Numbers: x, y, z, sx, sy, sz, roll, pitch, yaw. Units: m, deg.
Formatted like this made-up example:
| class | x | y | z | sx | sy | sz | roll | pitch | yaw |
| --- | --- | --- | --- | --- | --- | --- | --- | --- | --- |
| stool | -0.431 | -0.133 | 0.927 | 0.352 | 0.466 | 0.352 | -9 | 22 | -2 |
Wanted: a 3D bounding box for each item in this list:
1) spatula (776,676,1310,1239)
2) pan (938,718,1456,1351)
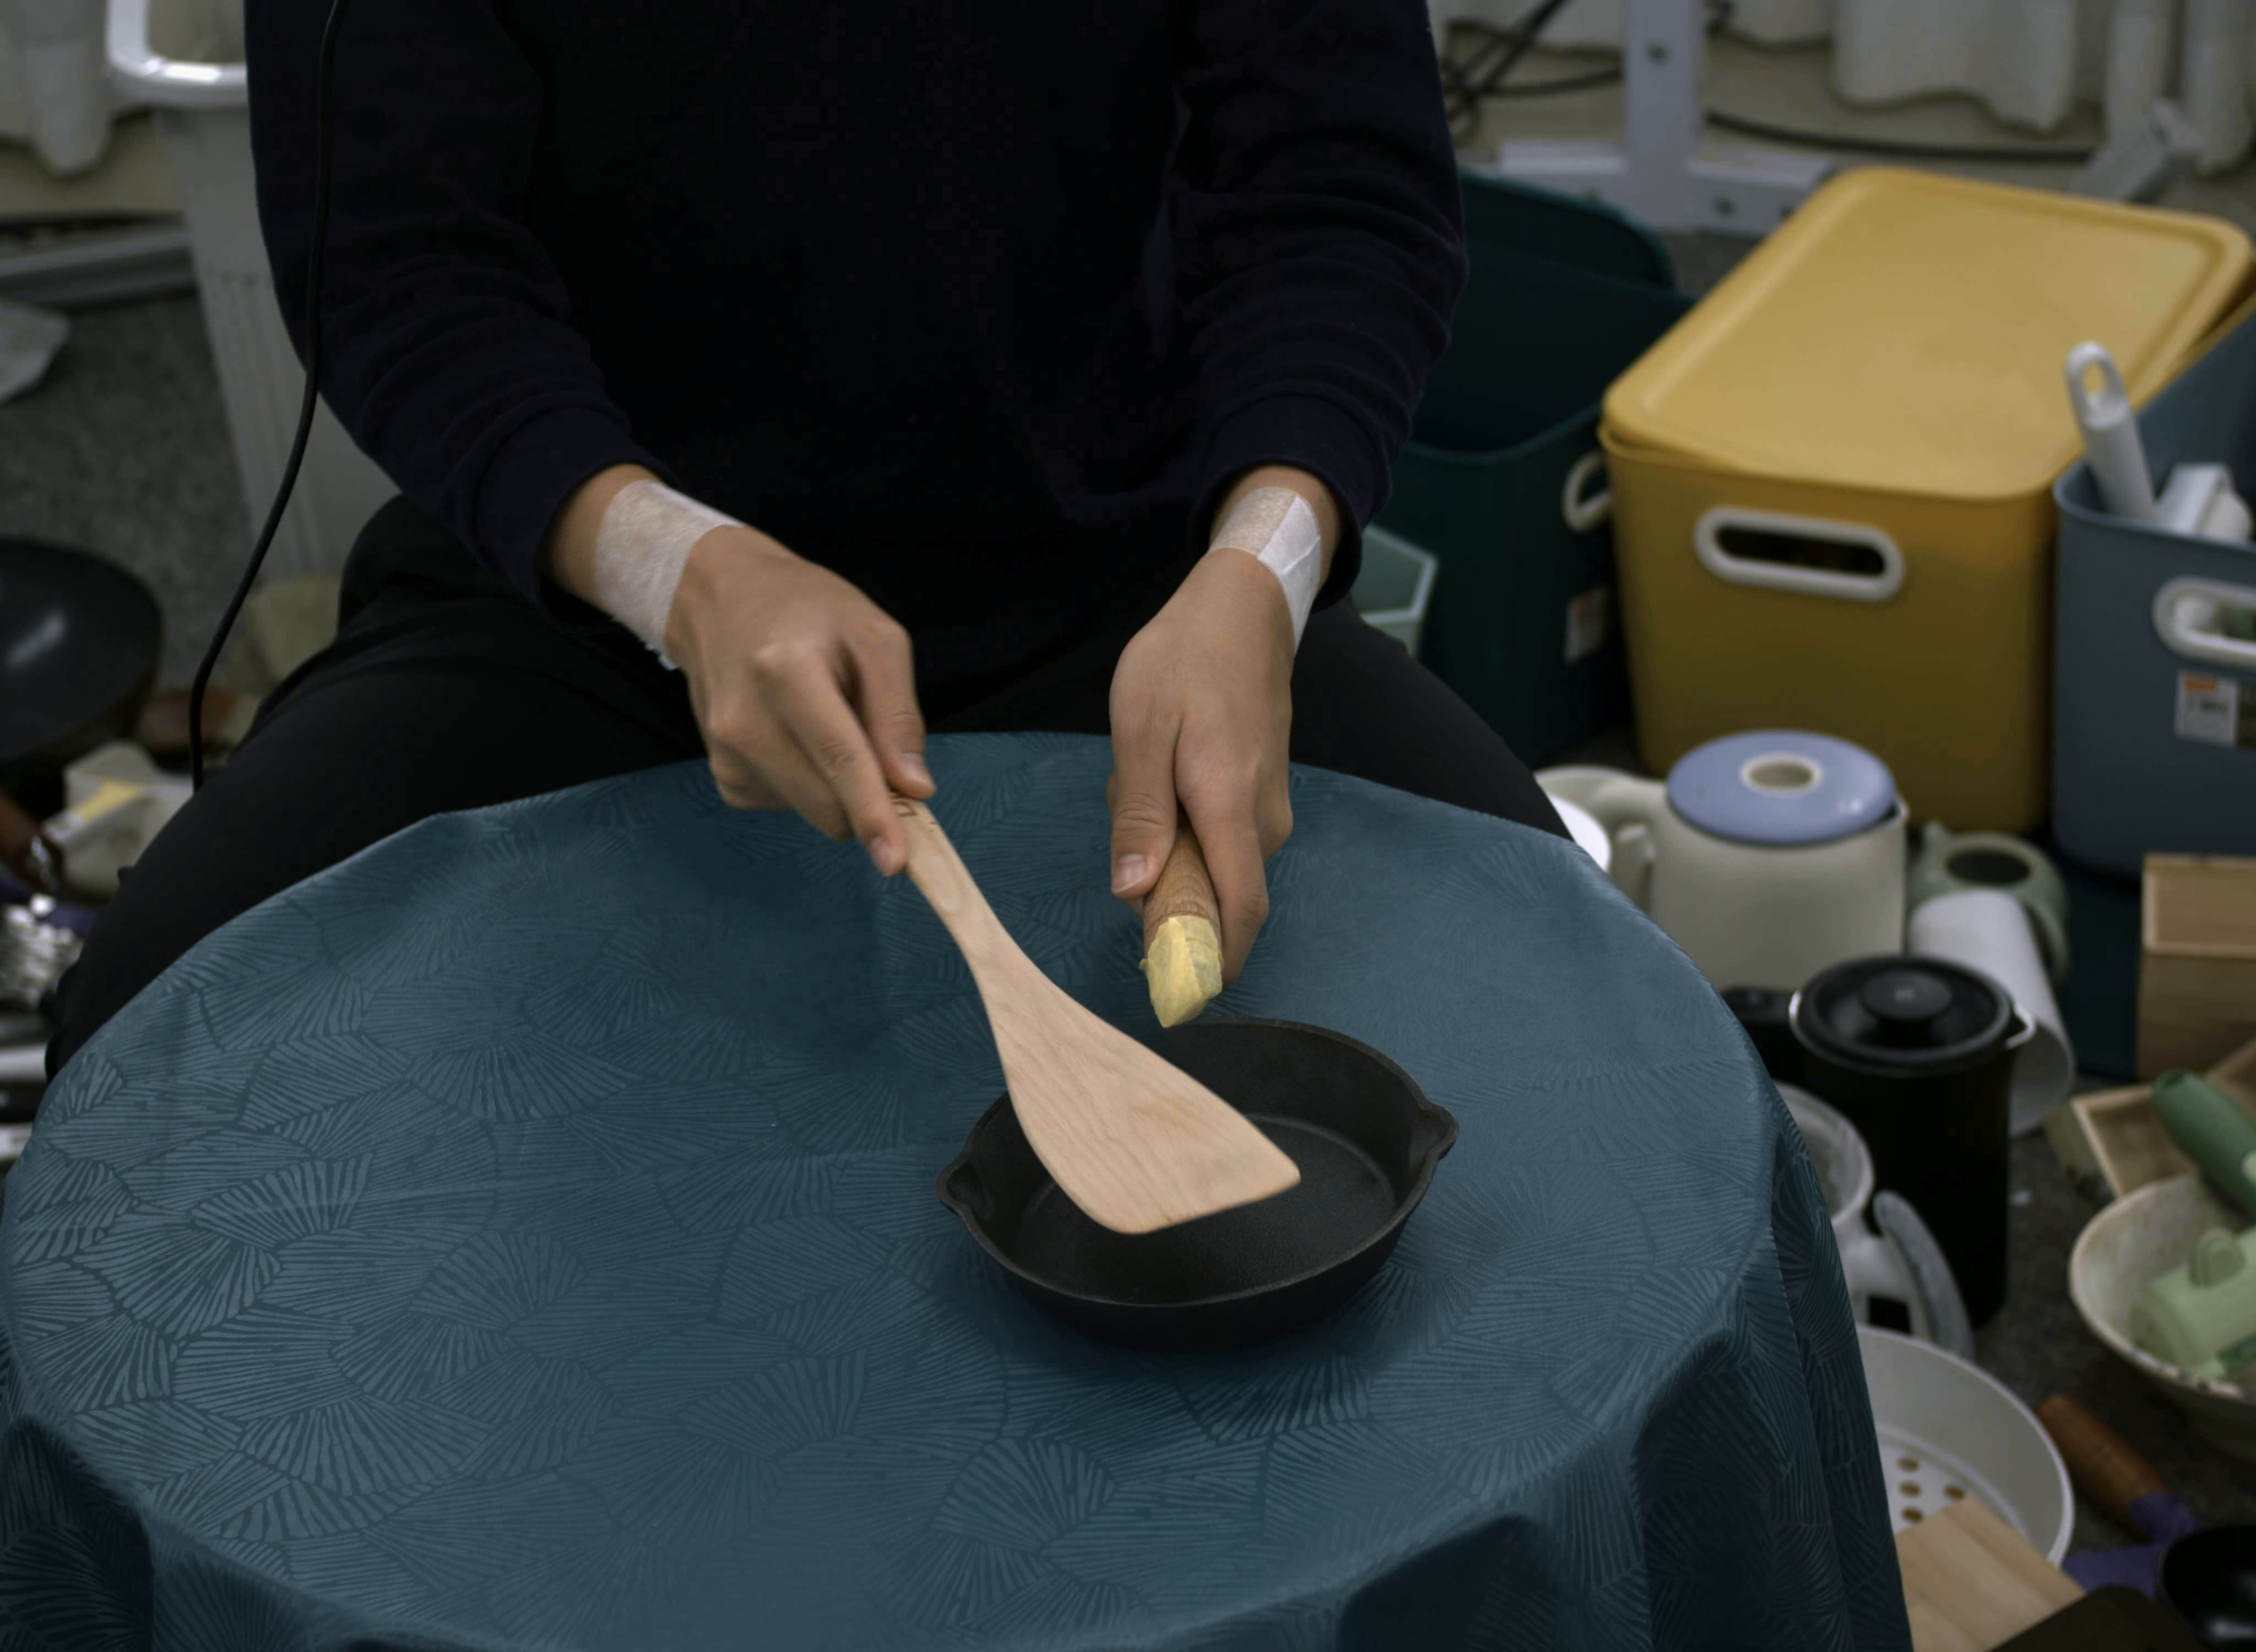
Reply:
| class | x | y | z | sx | sy | sz | roll | pitch | yaw |
| --- | --- | --- | --- | --- | --- | --- | --- | --- | --- |
| spatula | -0.042 | 0.038 | 1.863 | 0.080 | 0.016 | 0.331 | -4 | 36 | -30 |
| pan | 0.023 | 0.067 | 1.887 | 0.168 | 0.049 | 0.330 | -5 | 33 | 3 |
